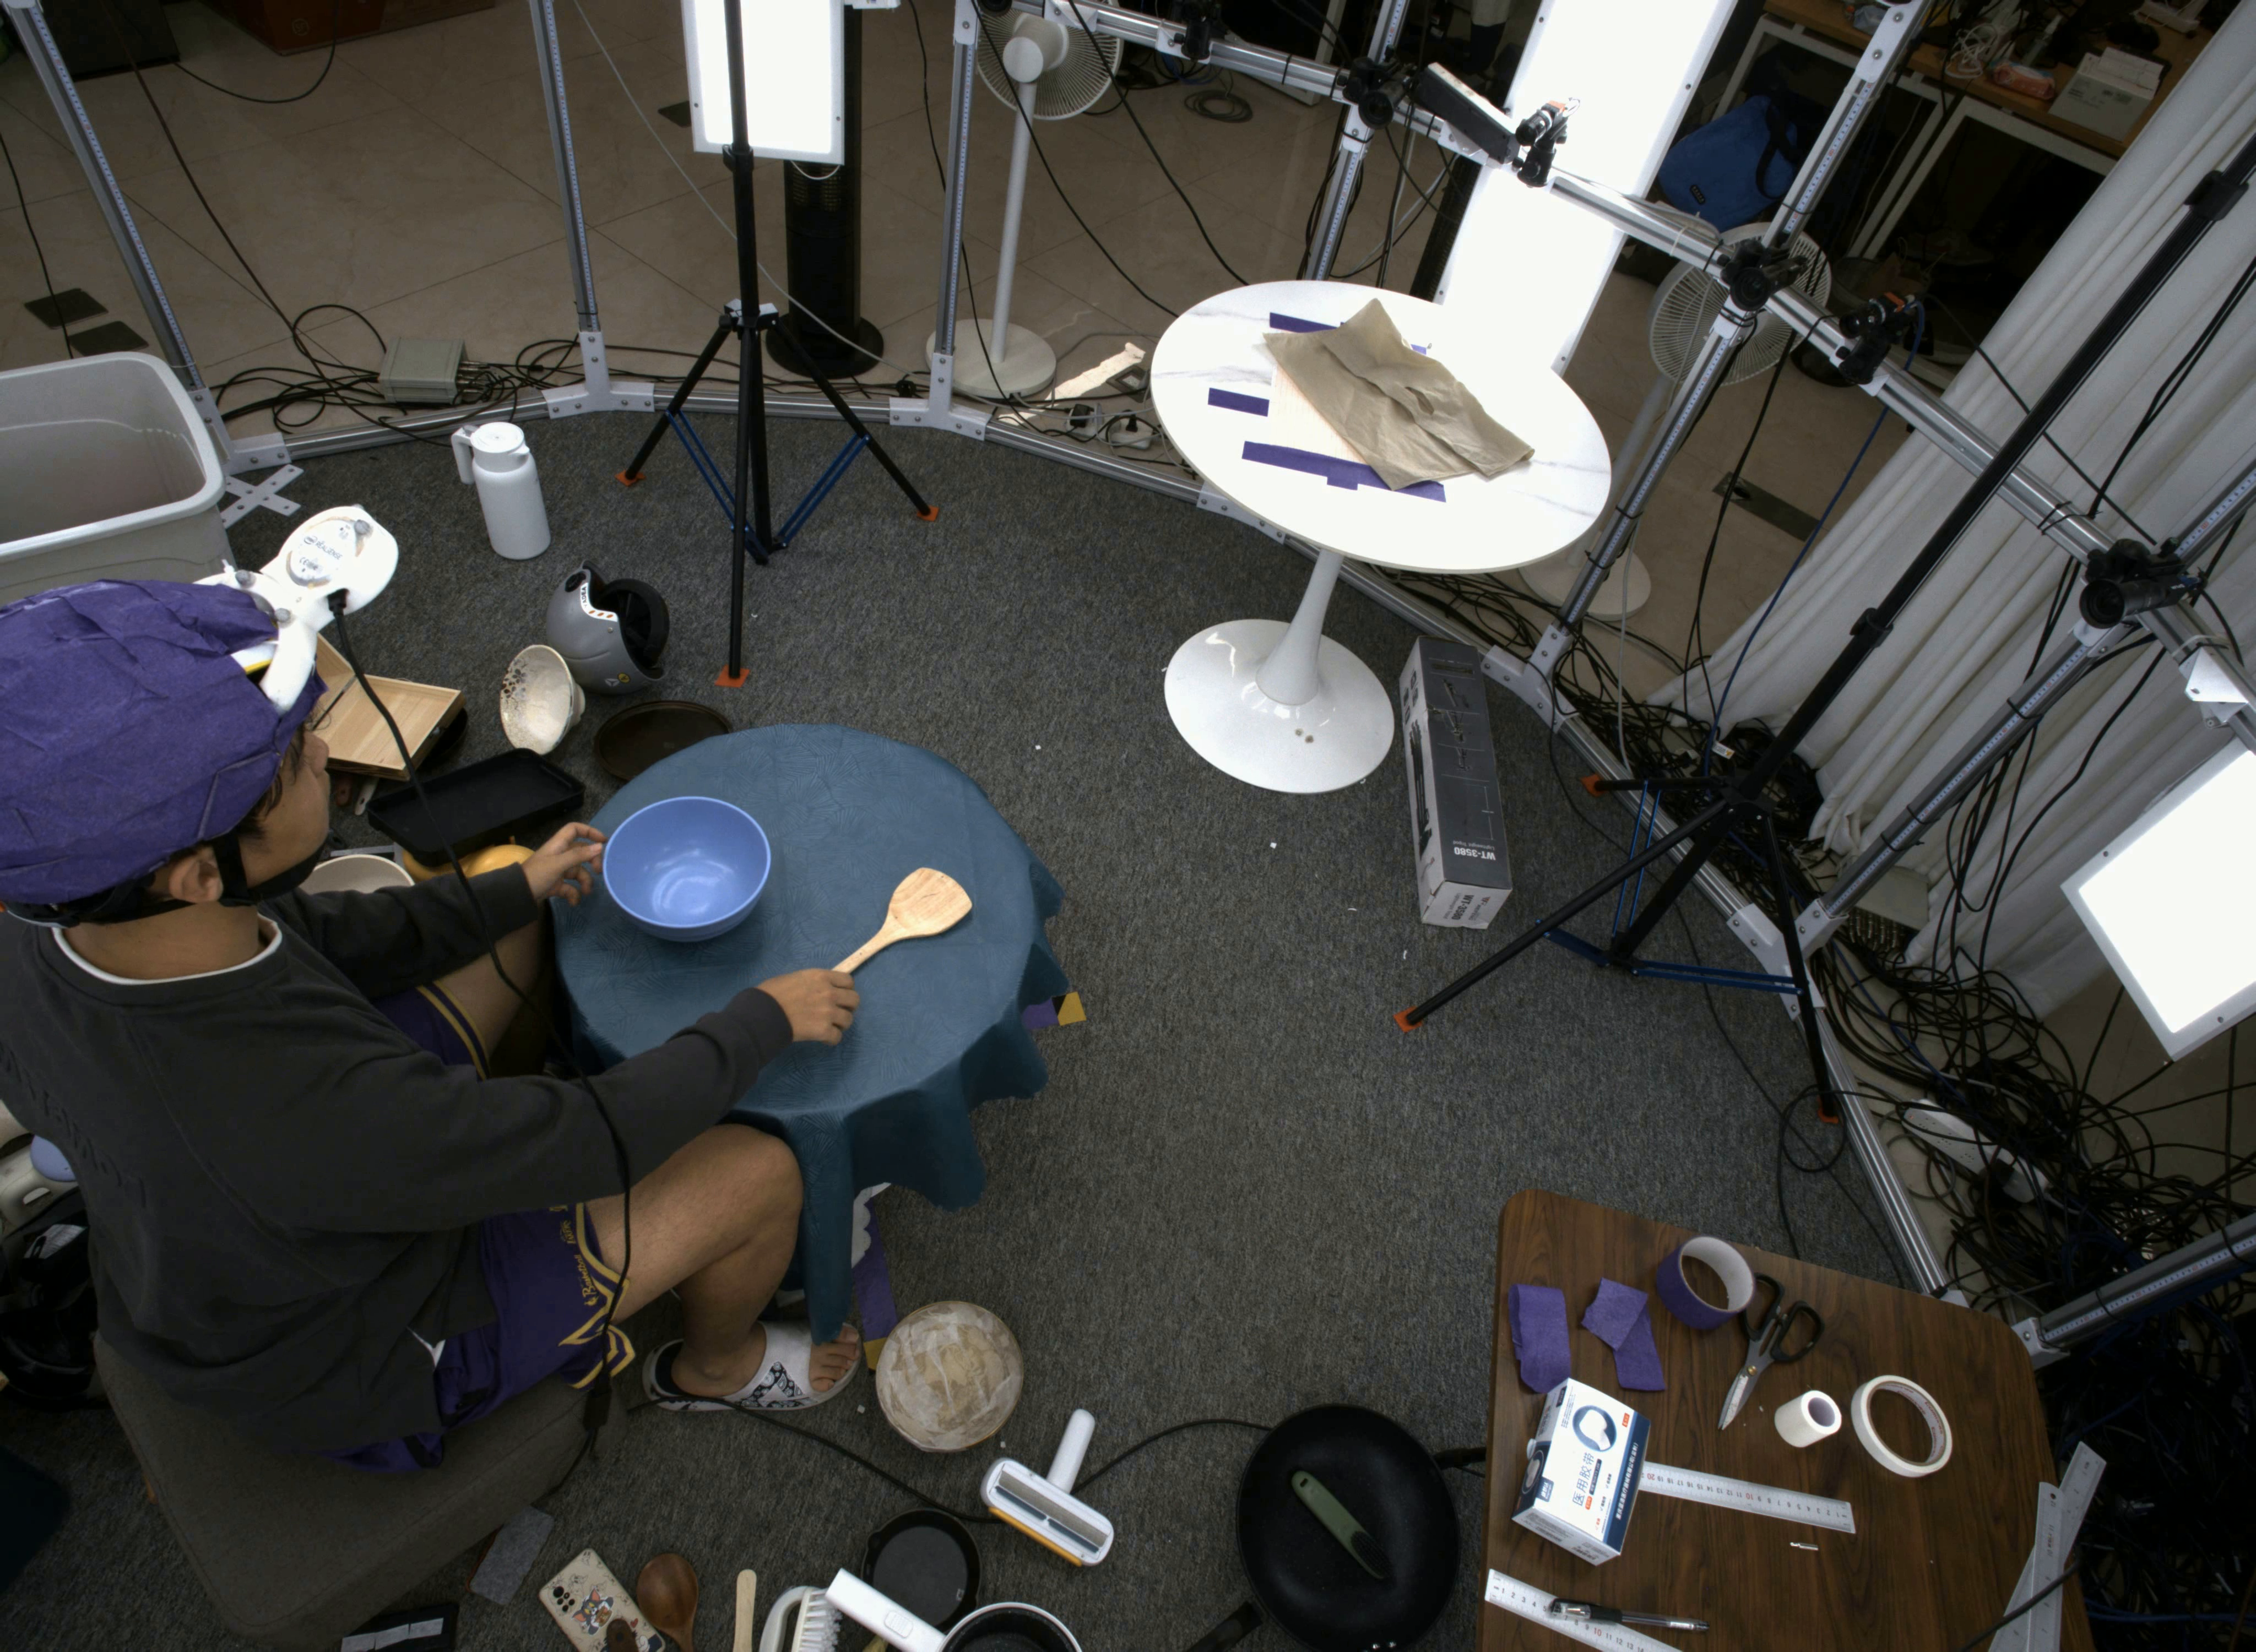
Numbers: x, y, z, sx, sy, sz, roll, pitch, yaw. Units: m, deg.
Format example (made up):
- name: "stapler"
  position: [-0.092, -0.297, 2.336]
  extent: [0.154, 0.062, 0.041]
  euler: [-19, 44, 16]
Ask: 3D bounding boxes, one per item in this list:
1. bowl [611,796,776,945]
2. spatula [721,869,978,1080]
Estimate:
- name: "bowl"
  position: [-0.534, 0.068, 1.591]
  extent: [0.196, 0.097, 0.193]
  euler: [9, 53, -10]
- name: "spatula"
  position: [-0.343, 0.182, 1.603]
  extent: [0.093, 0.019, 0.391]
  euler: [37, 54, 17]
